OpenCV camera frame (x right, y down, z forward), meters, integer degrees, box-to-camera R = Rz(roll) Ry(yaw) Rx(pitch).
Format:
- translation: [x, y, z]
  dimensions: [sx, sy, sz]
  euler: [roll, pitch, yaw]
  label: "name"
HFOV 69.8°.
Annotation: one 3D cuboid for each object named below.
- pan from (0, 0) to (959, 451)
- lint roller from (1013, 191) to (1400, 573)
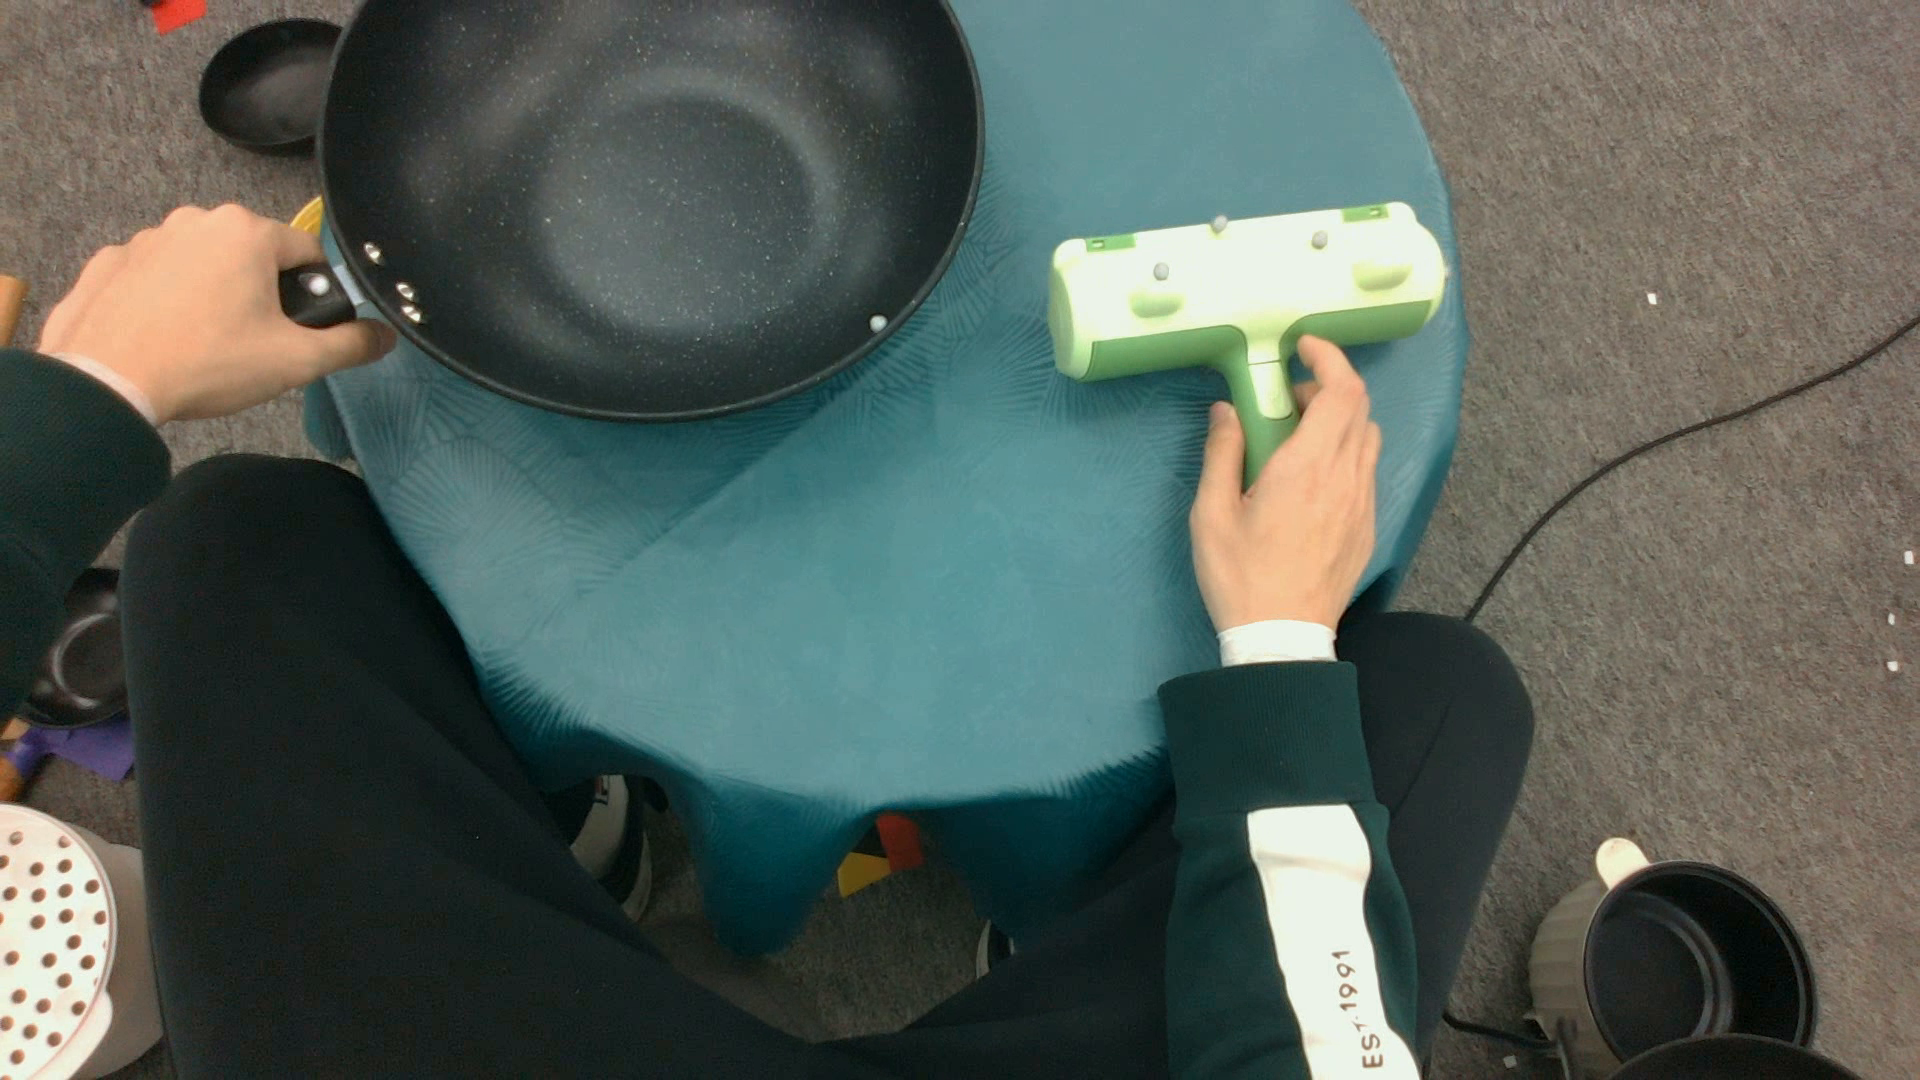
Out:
- translation: [-0.223, -0.149, 0.658]
  dimensions: [0.478, 0.111, 0.310]
  euler: [-34, 76, -15]
  label: "pan"
- translation: [0.138, -0.080, 0.671]
  dimensions: [0.199, 0.082, 0.183]
  euler: [-10, 75, -15]
  label: "lint roller"
